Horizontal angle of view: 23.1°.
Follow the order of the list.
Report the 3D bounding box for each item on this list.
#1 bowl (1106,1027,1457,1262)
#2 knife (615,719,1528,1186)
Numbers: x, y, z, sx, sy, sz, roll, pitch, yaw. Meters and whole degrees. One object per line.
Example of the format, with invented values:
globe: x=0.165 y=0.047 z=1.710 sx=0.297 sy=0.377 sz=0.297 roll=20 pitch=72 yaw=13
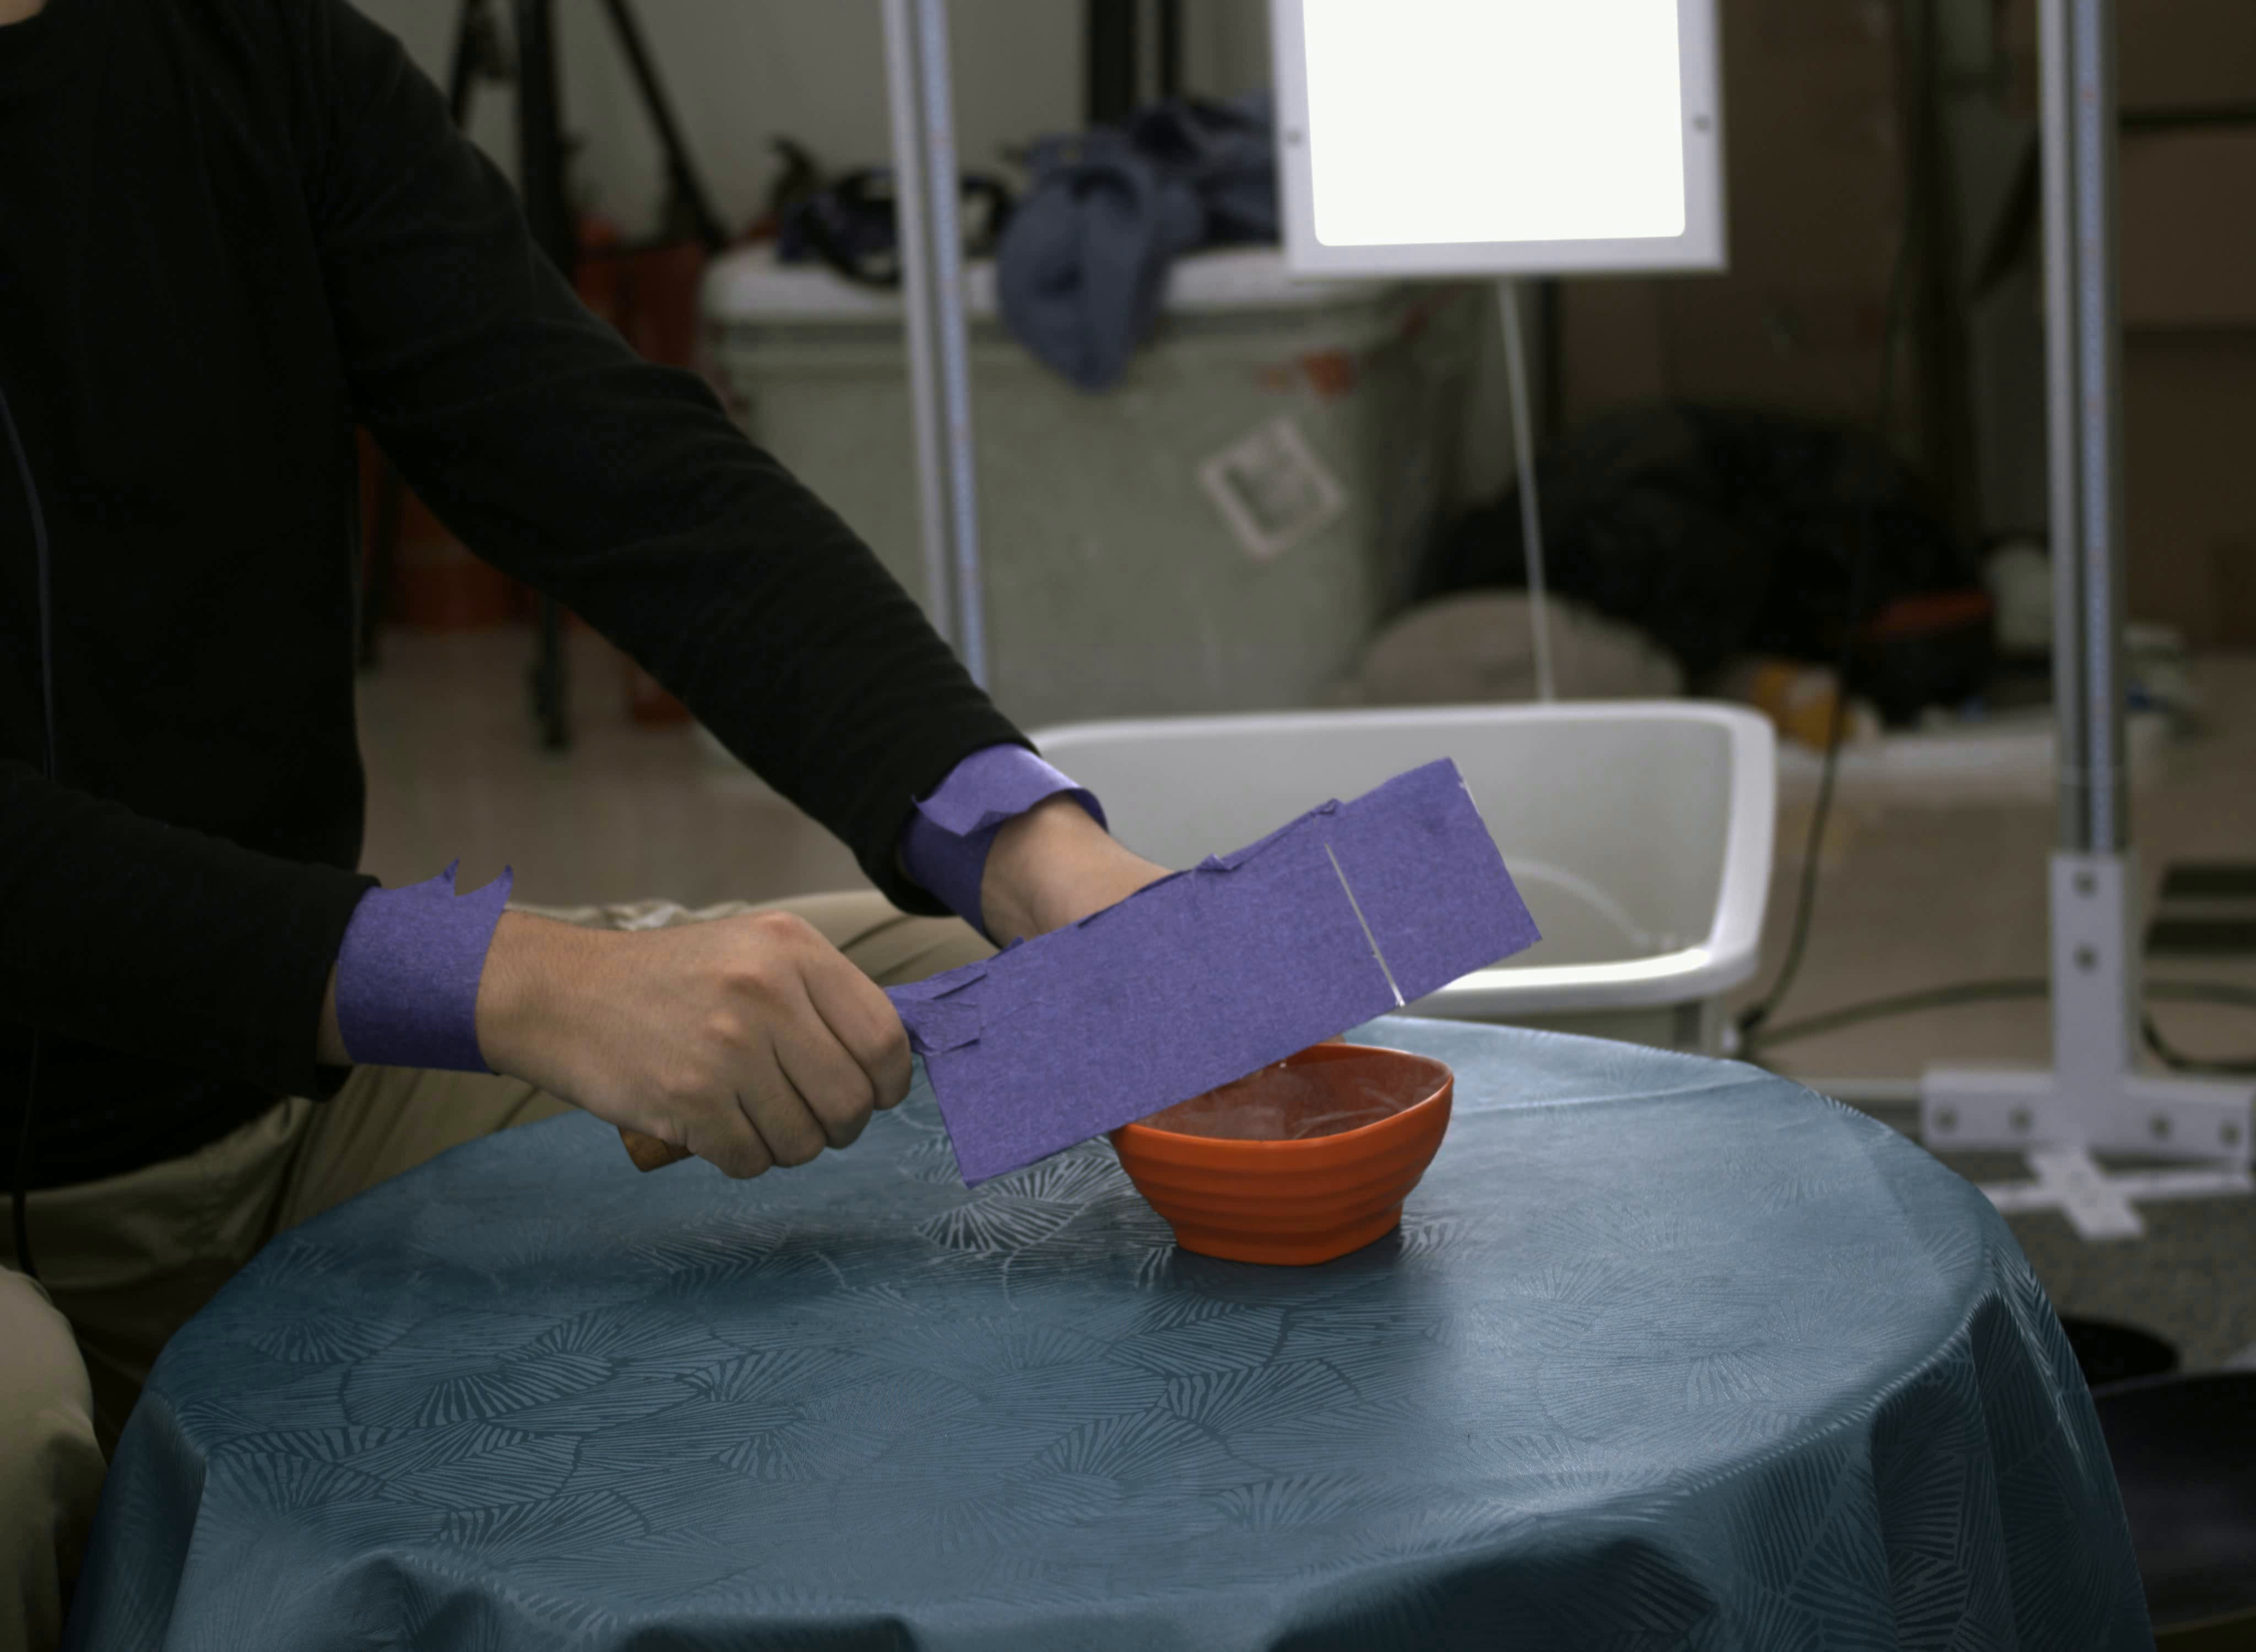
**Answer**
bowl: x=0.052 y=0.108 z=1.834 sx=0.118 sy=0.051 sz=0.119 roll=-4 pitch=17 yaw=0
knife: x=-0.020 y=0.063 z=1.839 sx=0.316 sy=0.032 sz=0.104 roll=-26 pitch=47 yaw=6
